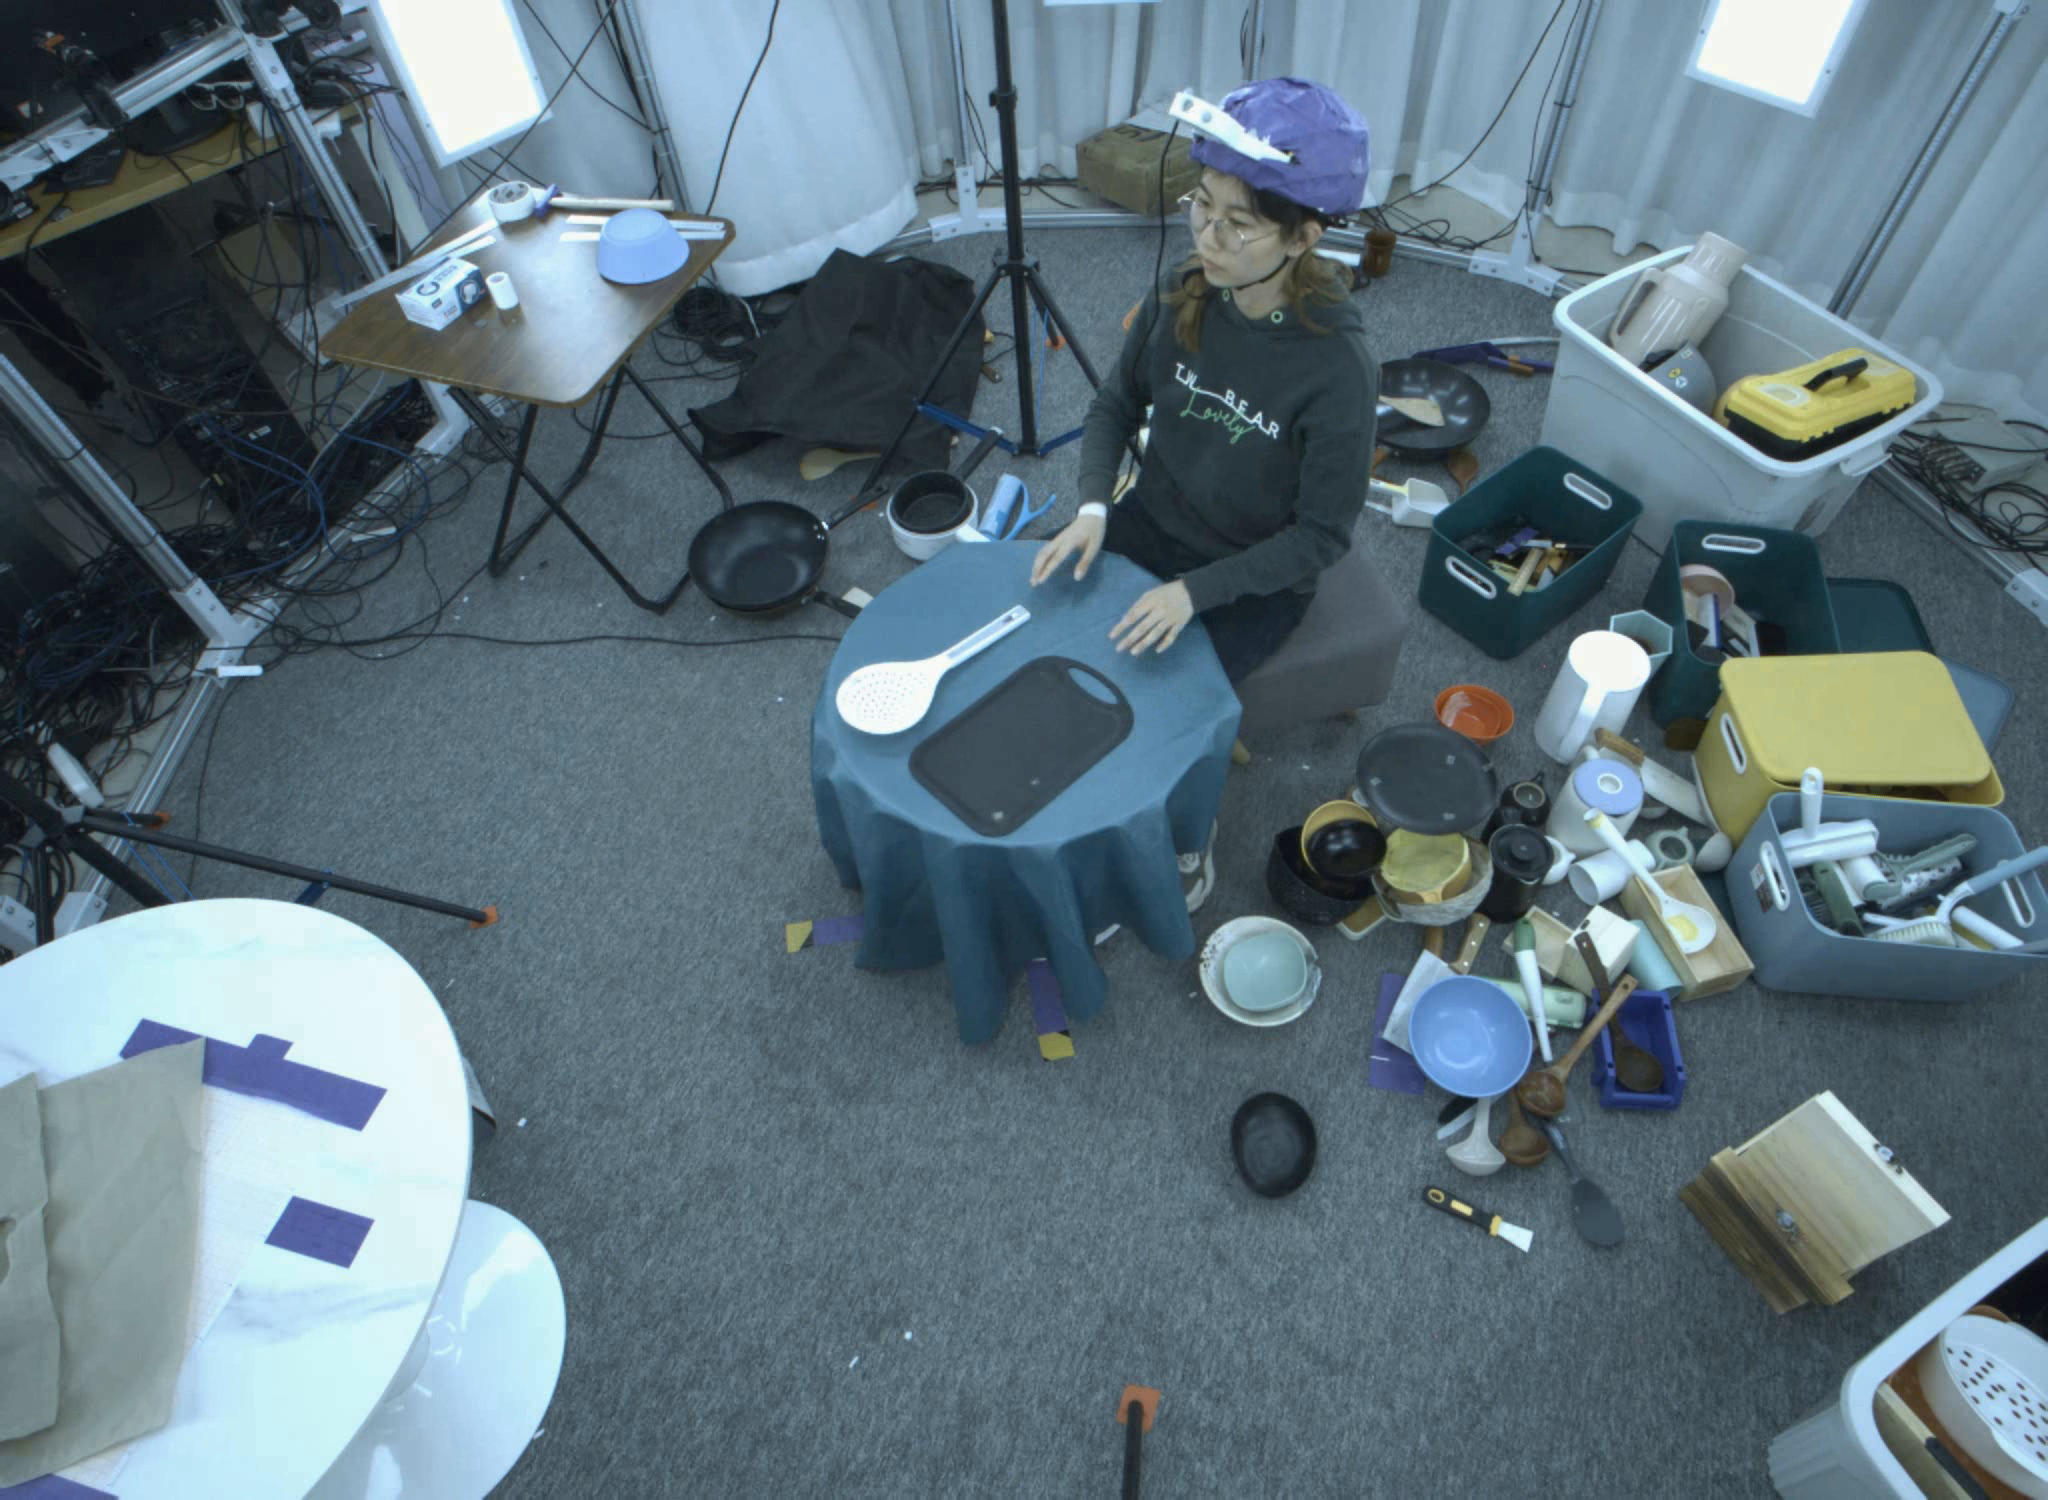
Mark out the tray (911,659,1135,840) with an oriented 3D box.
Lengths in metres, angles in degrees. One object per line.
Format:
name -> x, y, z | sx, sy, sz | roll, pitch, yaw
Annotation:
tray -> 0.006, -0.014, 1.803 | 0.328, 0.010, 0.207 | -38, 63, -23

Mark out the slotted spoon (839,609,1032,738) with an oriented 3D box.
slotted spoon -> -0.125, -0.124, 1.861 | 0.352, 0.046, 0.134 | -37, 64, -23
